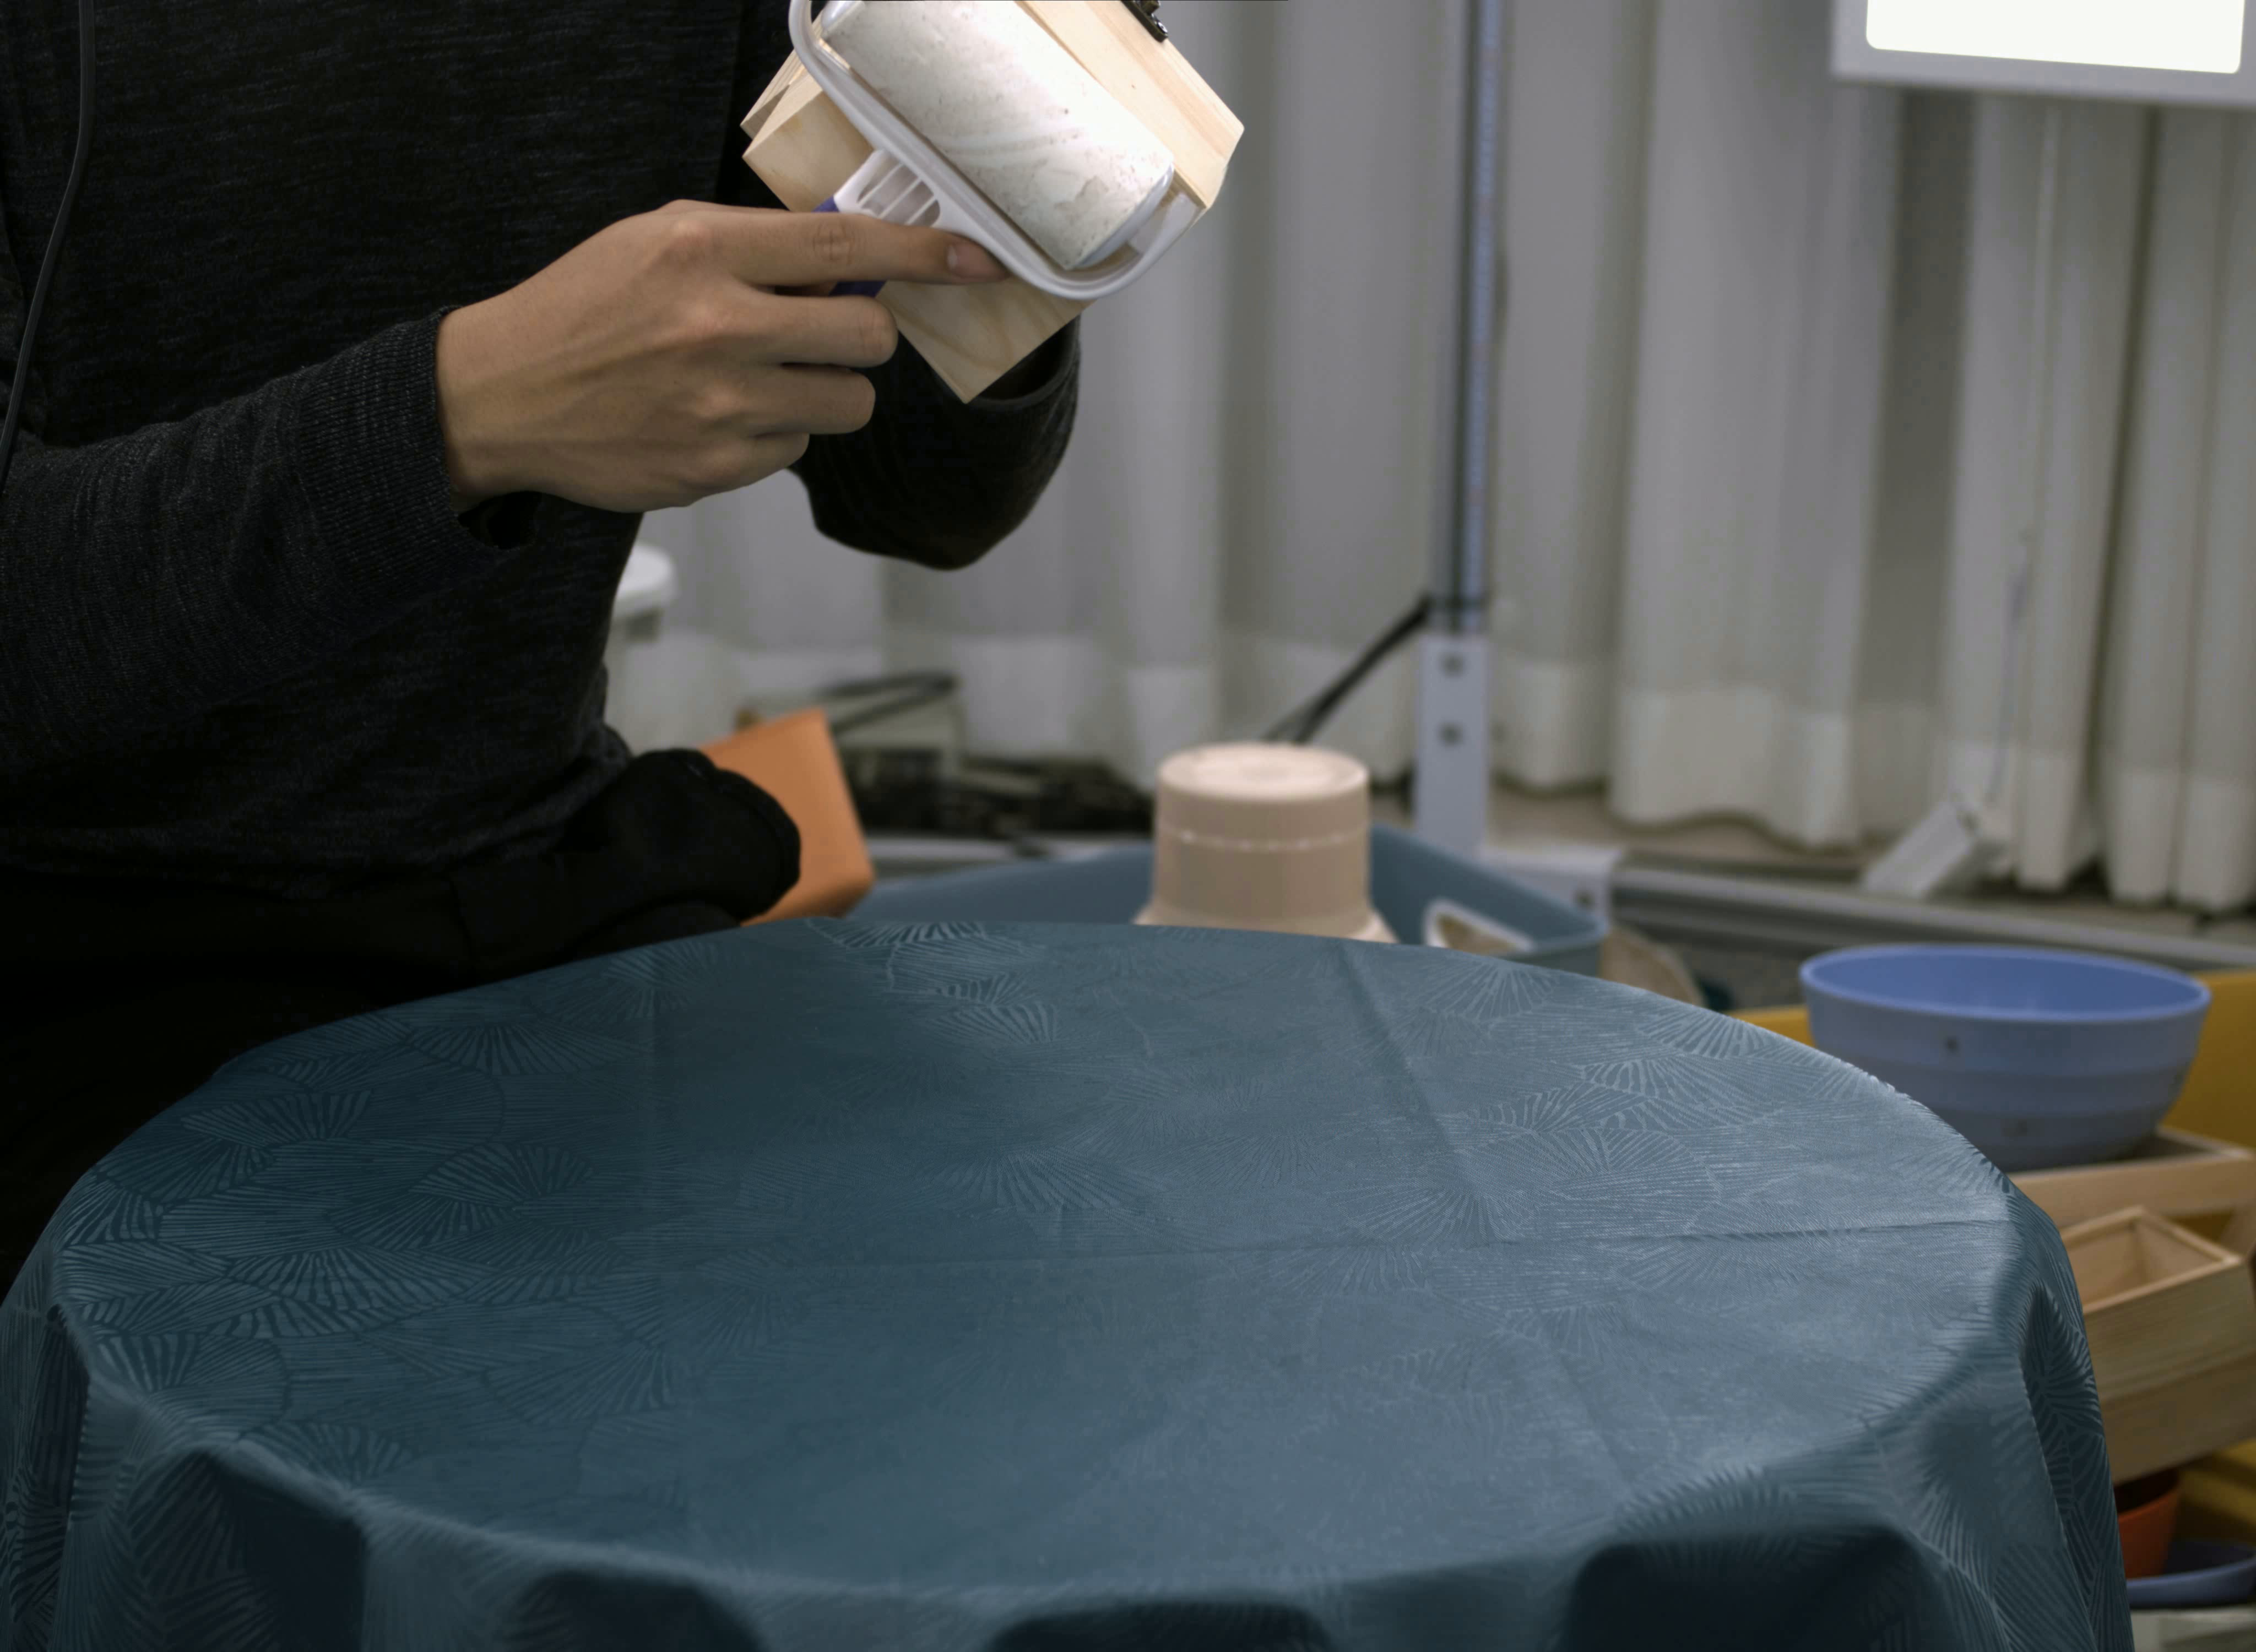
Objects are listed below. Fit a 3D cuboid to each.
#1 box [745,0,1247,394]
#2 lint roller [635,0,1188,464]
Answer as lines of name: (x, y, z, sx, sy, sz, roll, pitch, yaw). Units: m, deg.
box: (-0.037, -0.225, 1.635, 0.133, 0.103, 0.183, -37, 14, 23)
lint roller: (-0.084, -0.169, 1.531, 0.134, 0.181, 0.050, 44, 14, -13)
